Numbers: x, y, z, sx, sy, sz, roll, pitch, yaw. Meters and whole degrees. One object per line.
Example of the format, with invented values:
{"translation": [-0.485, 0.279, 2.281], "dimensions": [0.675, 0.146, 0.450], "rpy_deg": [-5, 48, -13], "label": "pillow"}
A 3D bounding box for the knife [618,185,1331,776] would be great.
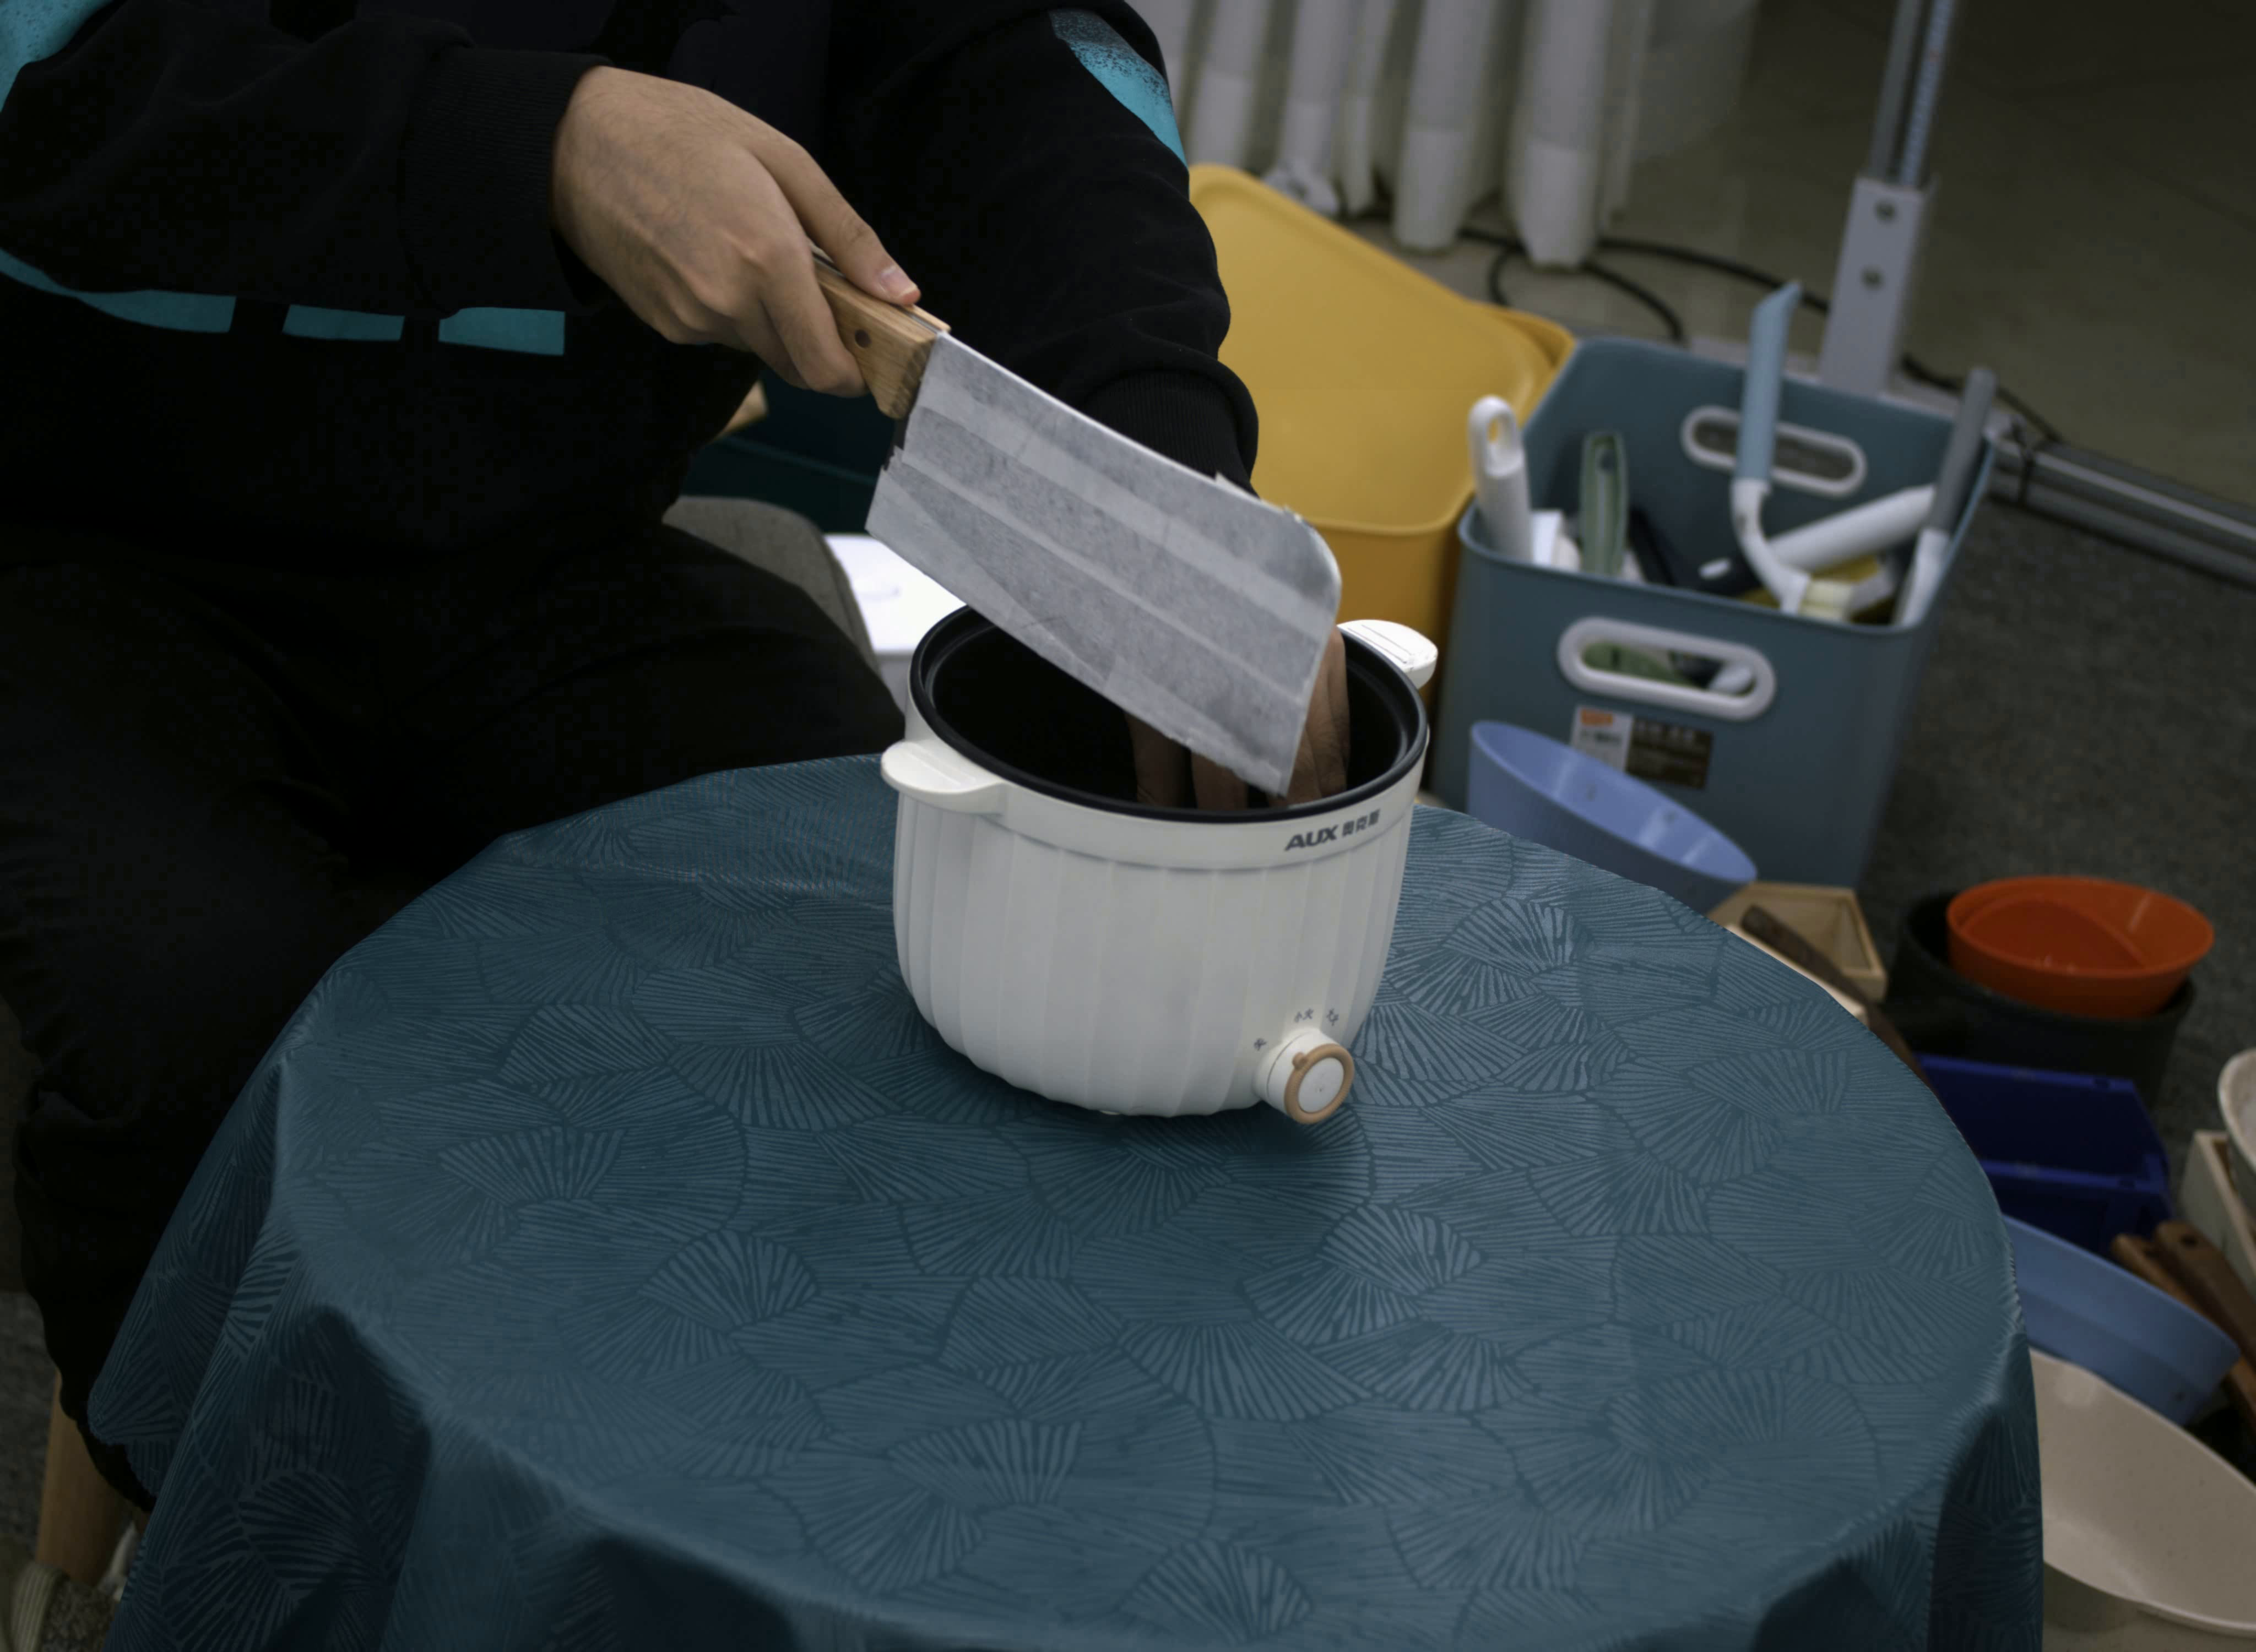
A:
{"translation": [-0.055, -0.132, 1.827], "dimensions": [0.317, 0.113, 0.021], "rpy_deg": [35, 34, 21], "label": "knife"}

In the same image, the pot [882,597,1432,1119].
{"translation": [0.012, 0.013, 1.868], "dimensions": [0.239, 0.142, 0.192], "rpy_deg": [-17, 32, -36], "label": "pot"}
